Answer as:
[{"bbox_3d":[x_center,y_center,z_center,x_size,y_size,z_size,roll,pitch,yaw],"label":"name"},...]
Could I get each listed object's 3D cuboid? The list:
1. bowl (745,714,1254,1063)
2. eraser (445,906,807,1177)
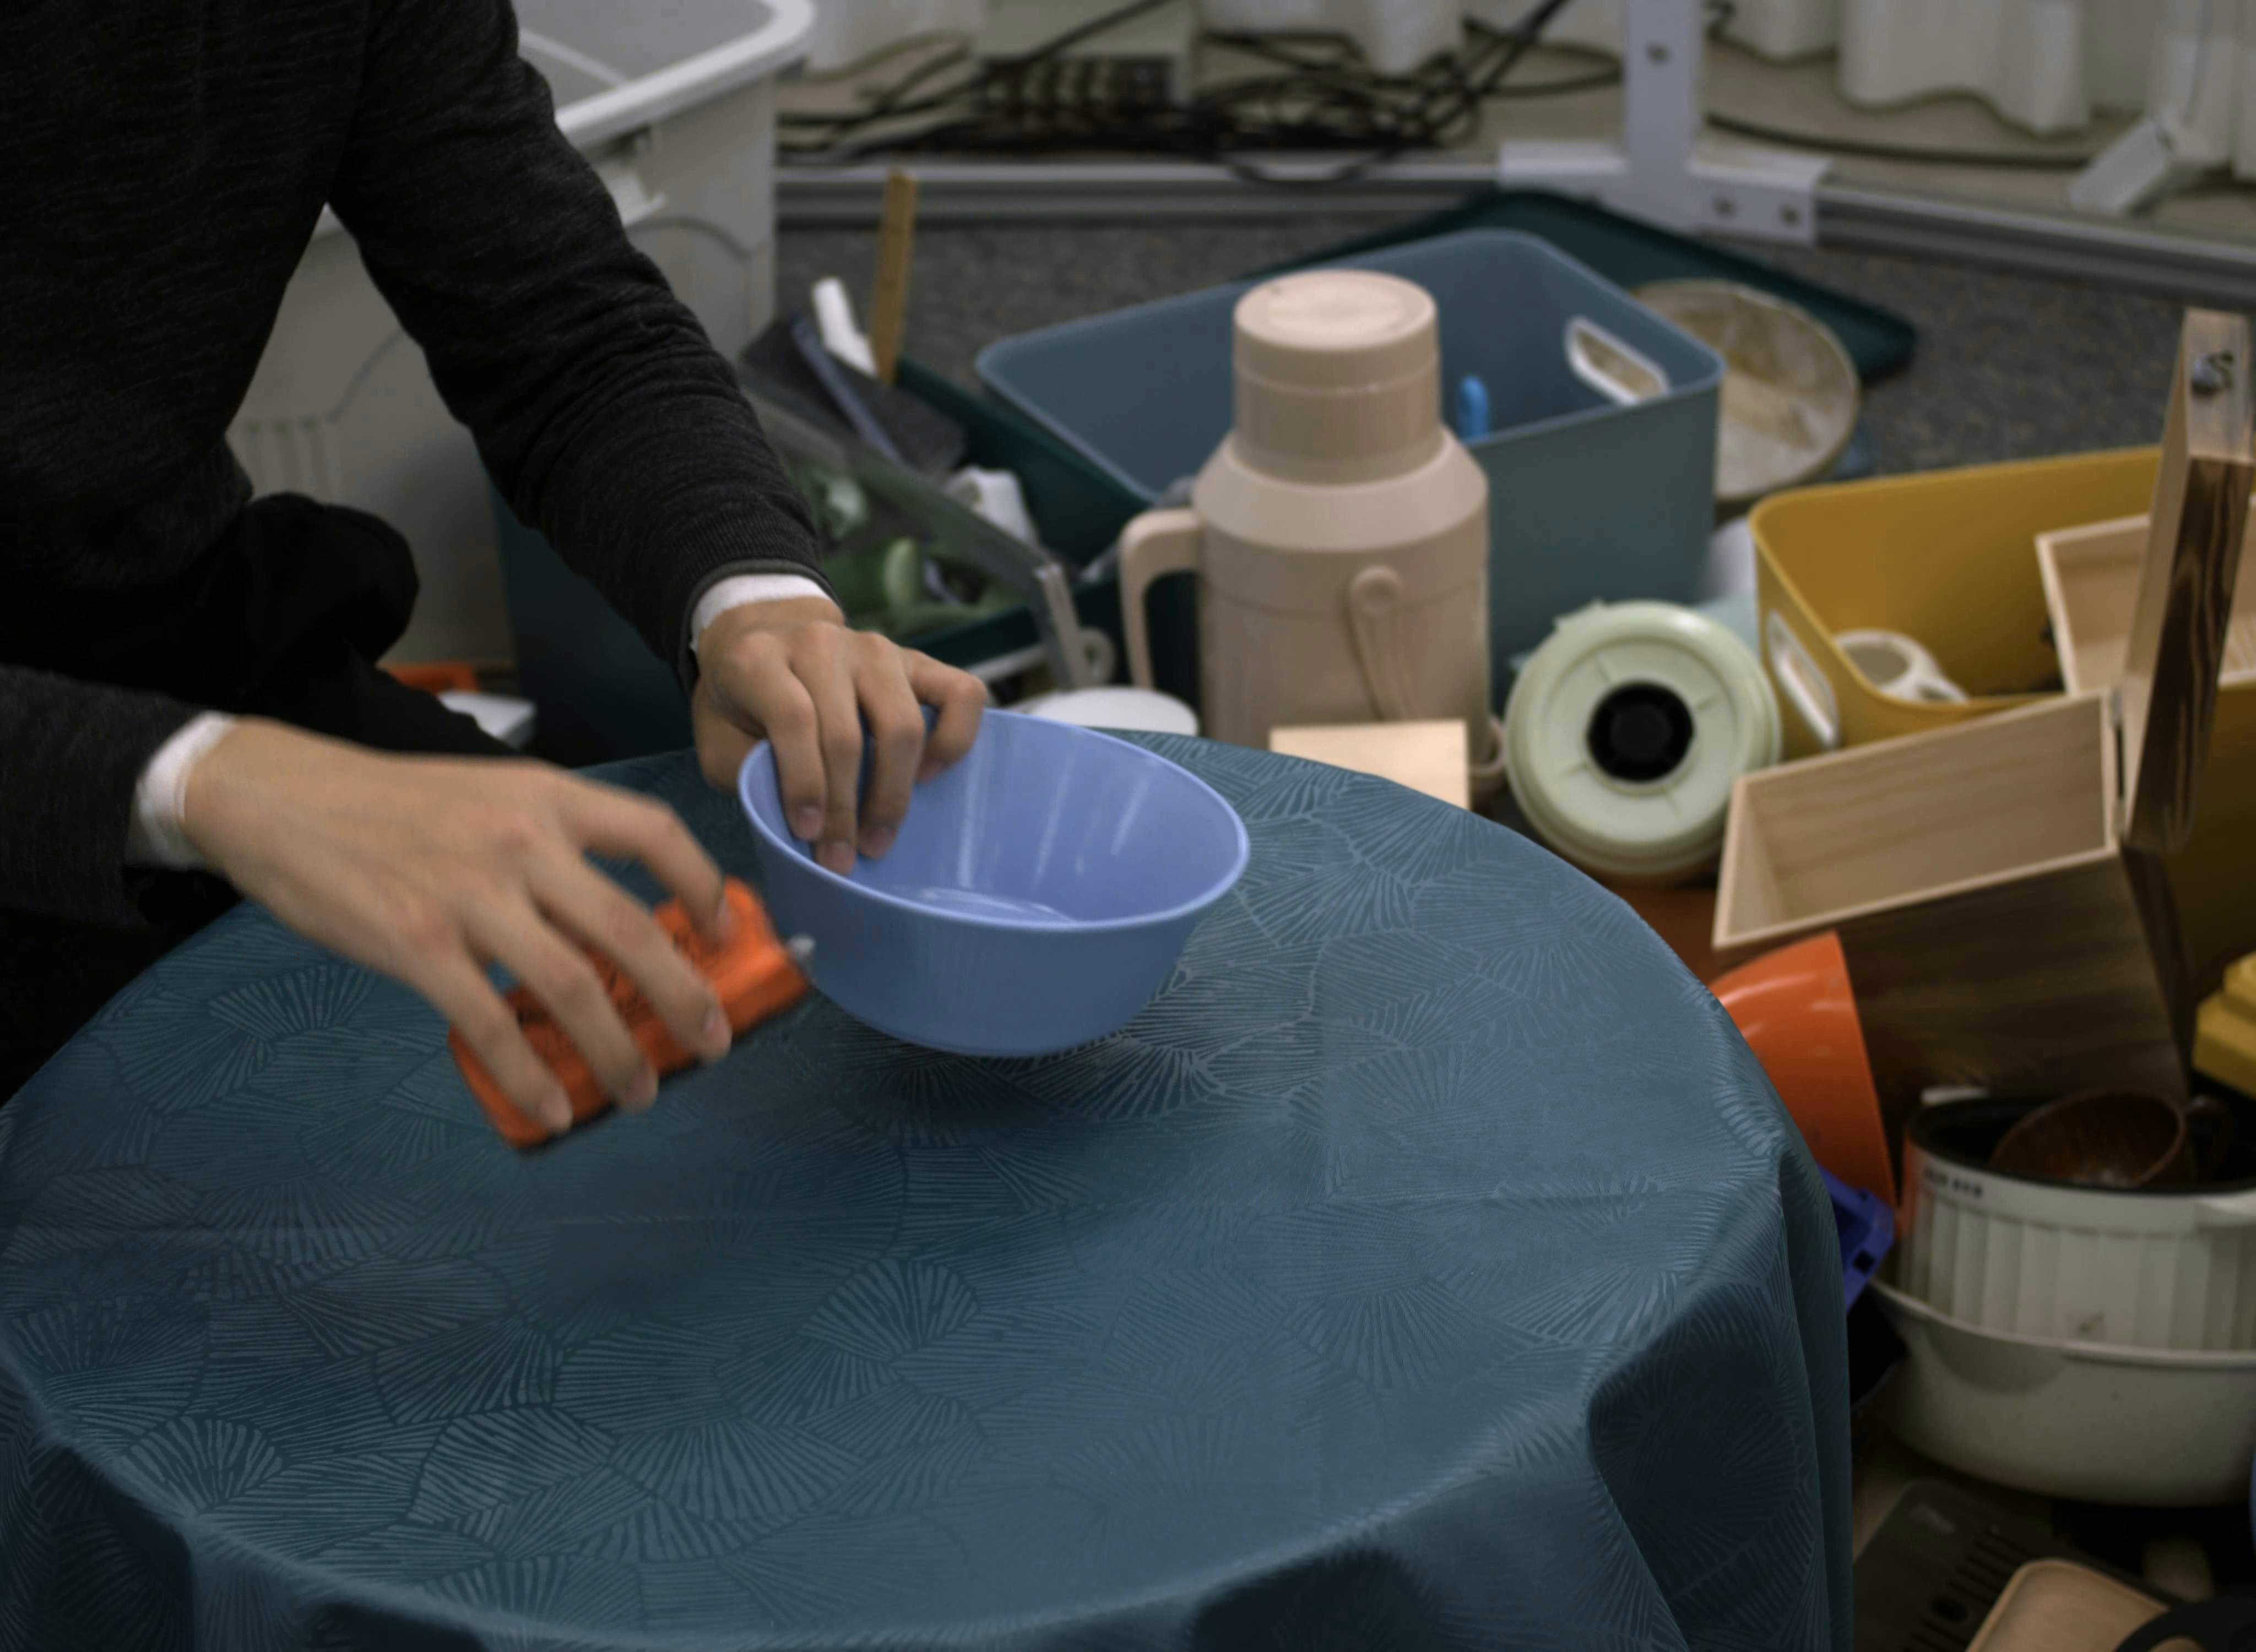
[{"bbox_3d":[-0.048,0.026,1.923,0.175,0.069,0.178,8,23,-3],"label":"bowl"},{"bbox_3d":[-0.160,0.069,1.792,0.108,0.022,0.059,-28,39,-14],"label":"eraser"}]
